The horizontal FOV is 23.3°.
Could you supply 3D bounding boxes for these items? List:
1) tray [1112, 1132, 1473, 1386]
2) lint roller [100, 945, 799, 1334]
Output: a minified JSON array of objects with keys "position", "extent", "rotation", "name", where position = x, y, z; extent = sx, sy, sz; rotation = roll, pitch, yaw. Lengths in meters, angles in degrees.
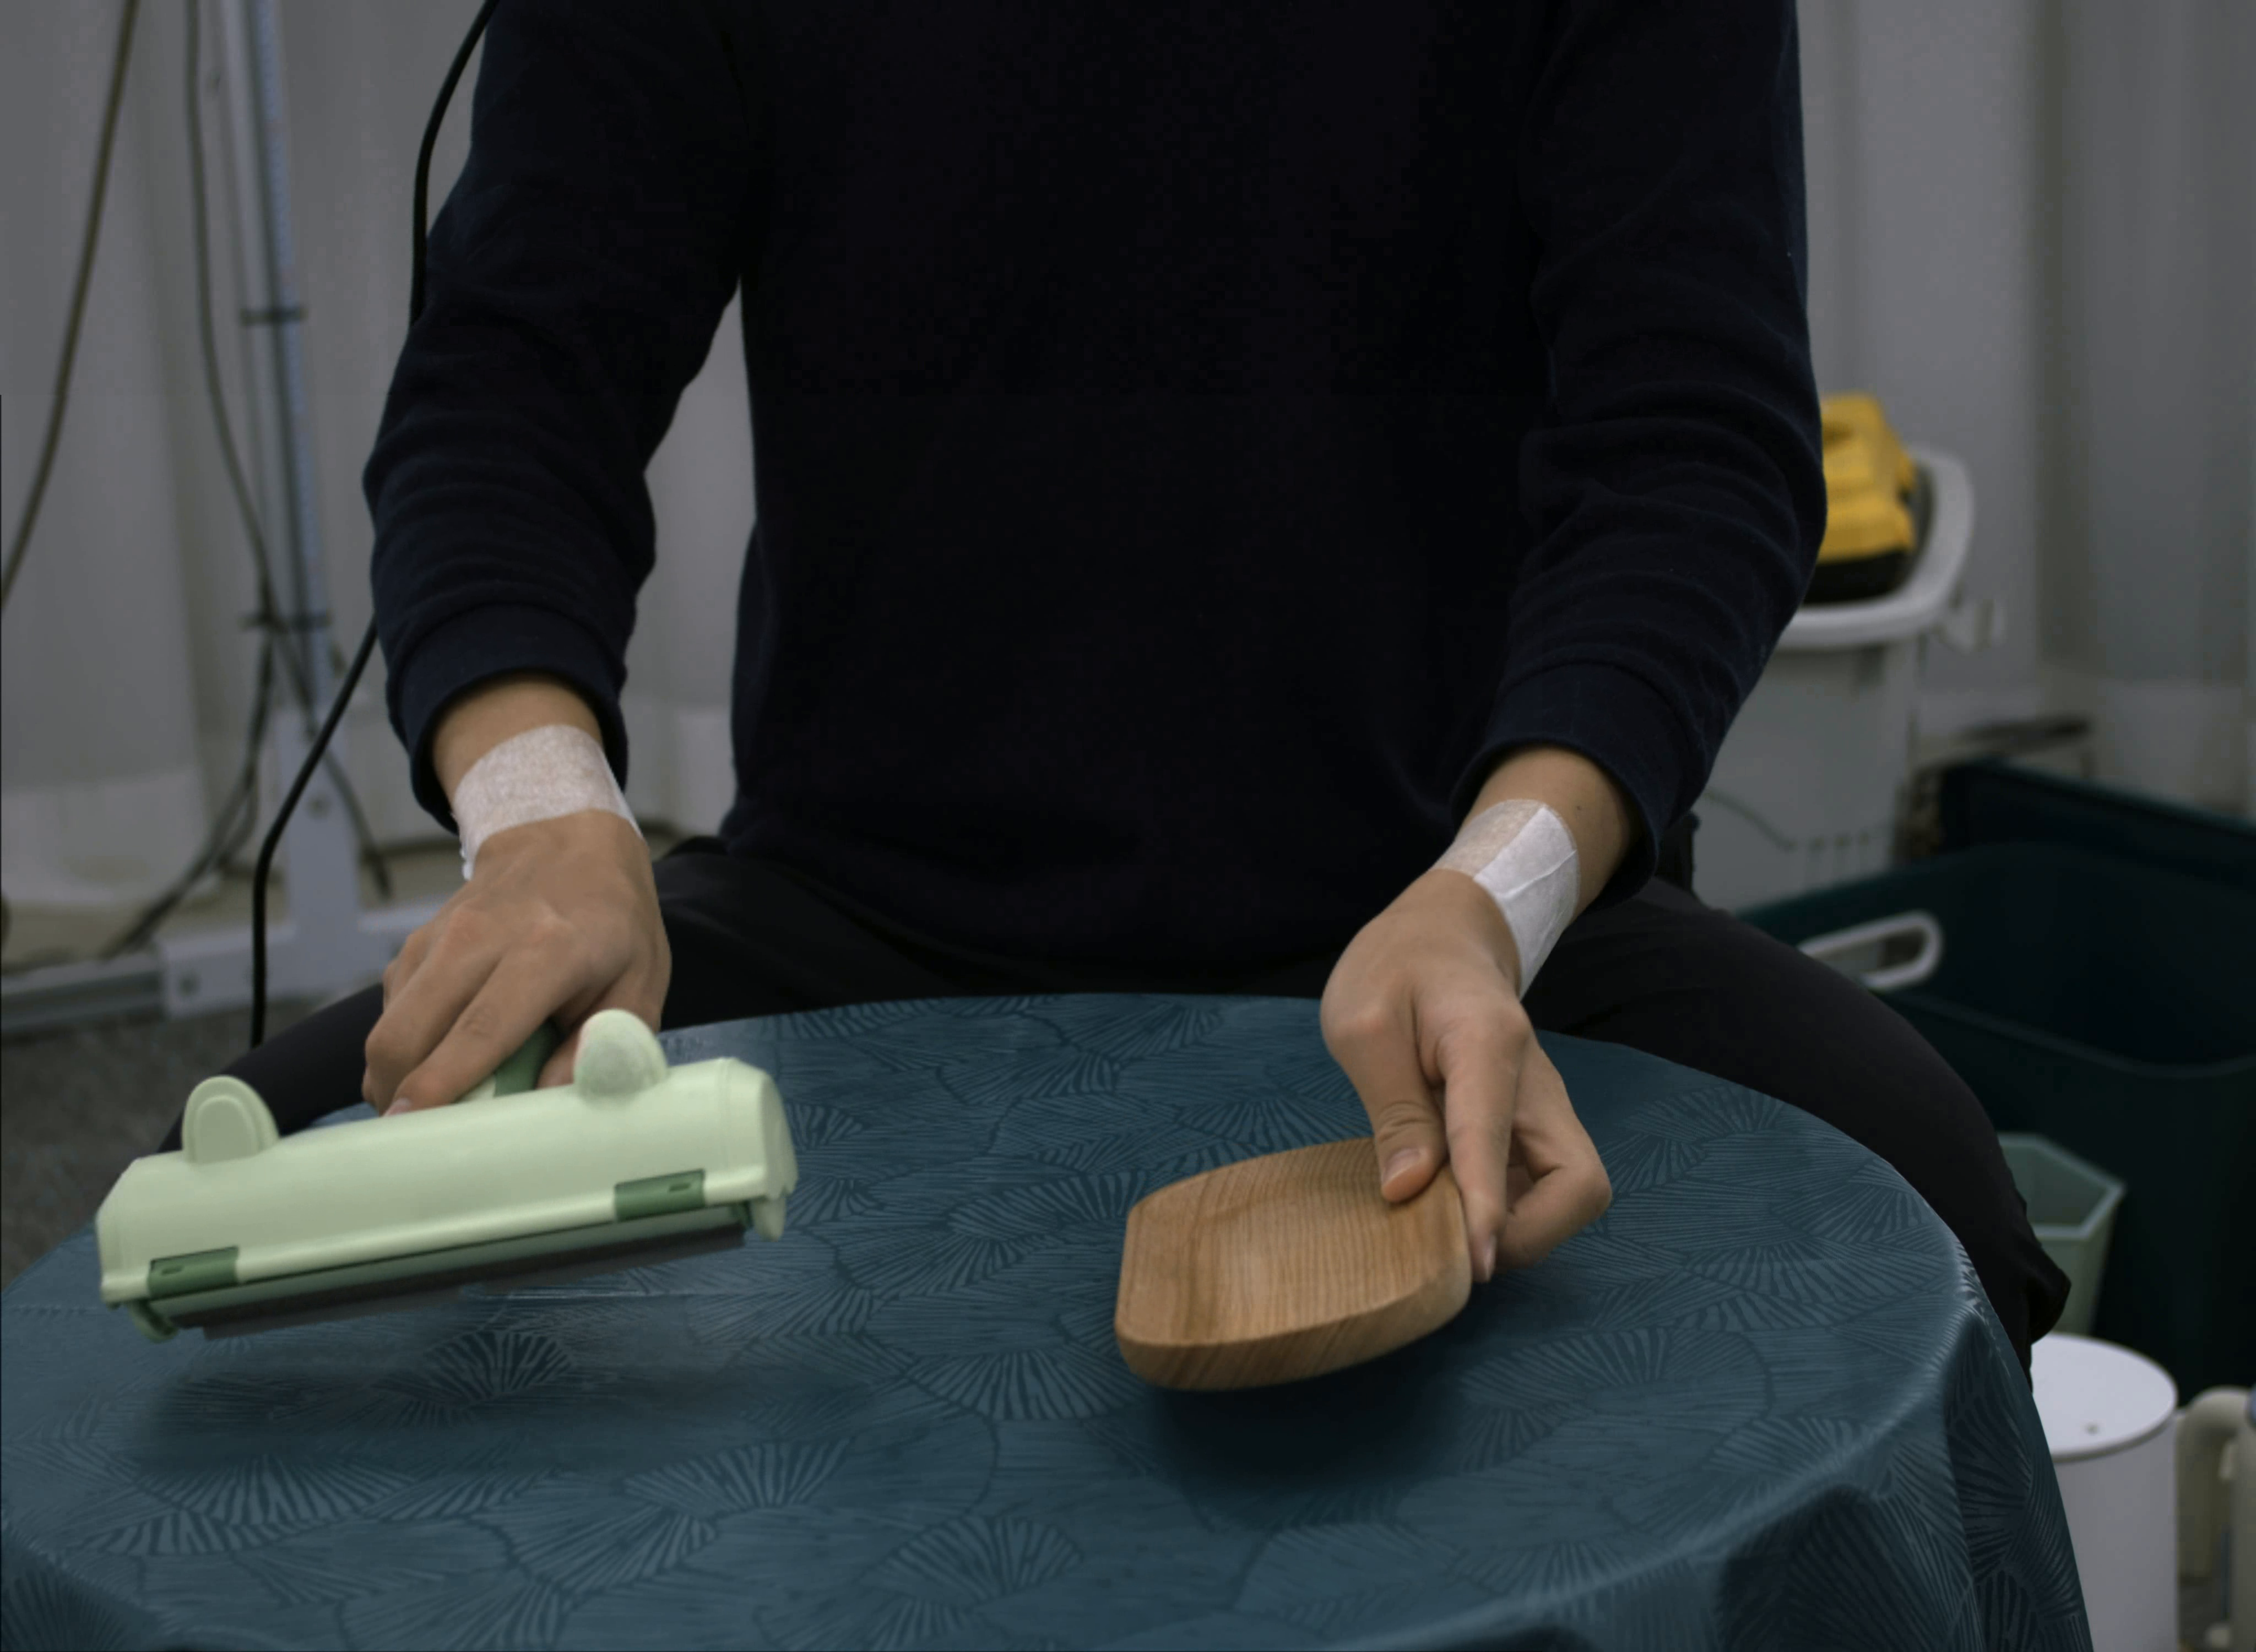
[{"position":[0.047,0.123,1.571],"extent":[0.101,0.020,0.232],"rotation":[-11,7,3],"name":"tray"},{"position":[-0.197,0.068,1.611],"extent":[0.198,0.081,0.186],"rotation":[-10,33,4],"name":"lint roller"}]
